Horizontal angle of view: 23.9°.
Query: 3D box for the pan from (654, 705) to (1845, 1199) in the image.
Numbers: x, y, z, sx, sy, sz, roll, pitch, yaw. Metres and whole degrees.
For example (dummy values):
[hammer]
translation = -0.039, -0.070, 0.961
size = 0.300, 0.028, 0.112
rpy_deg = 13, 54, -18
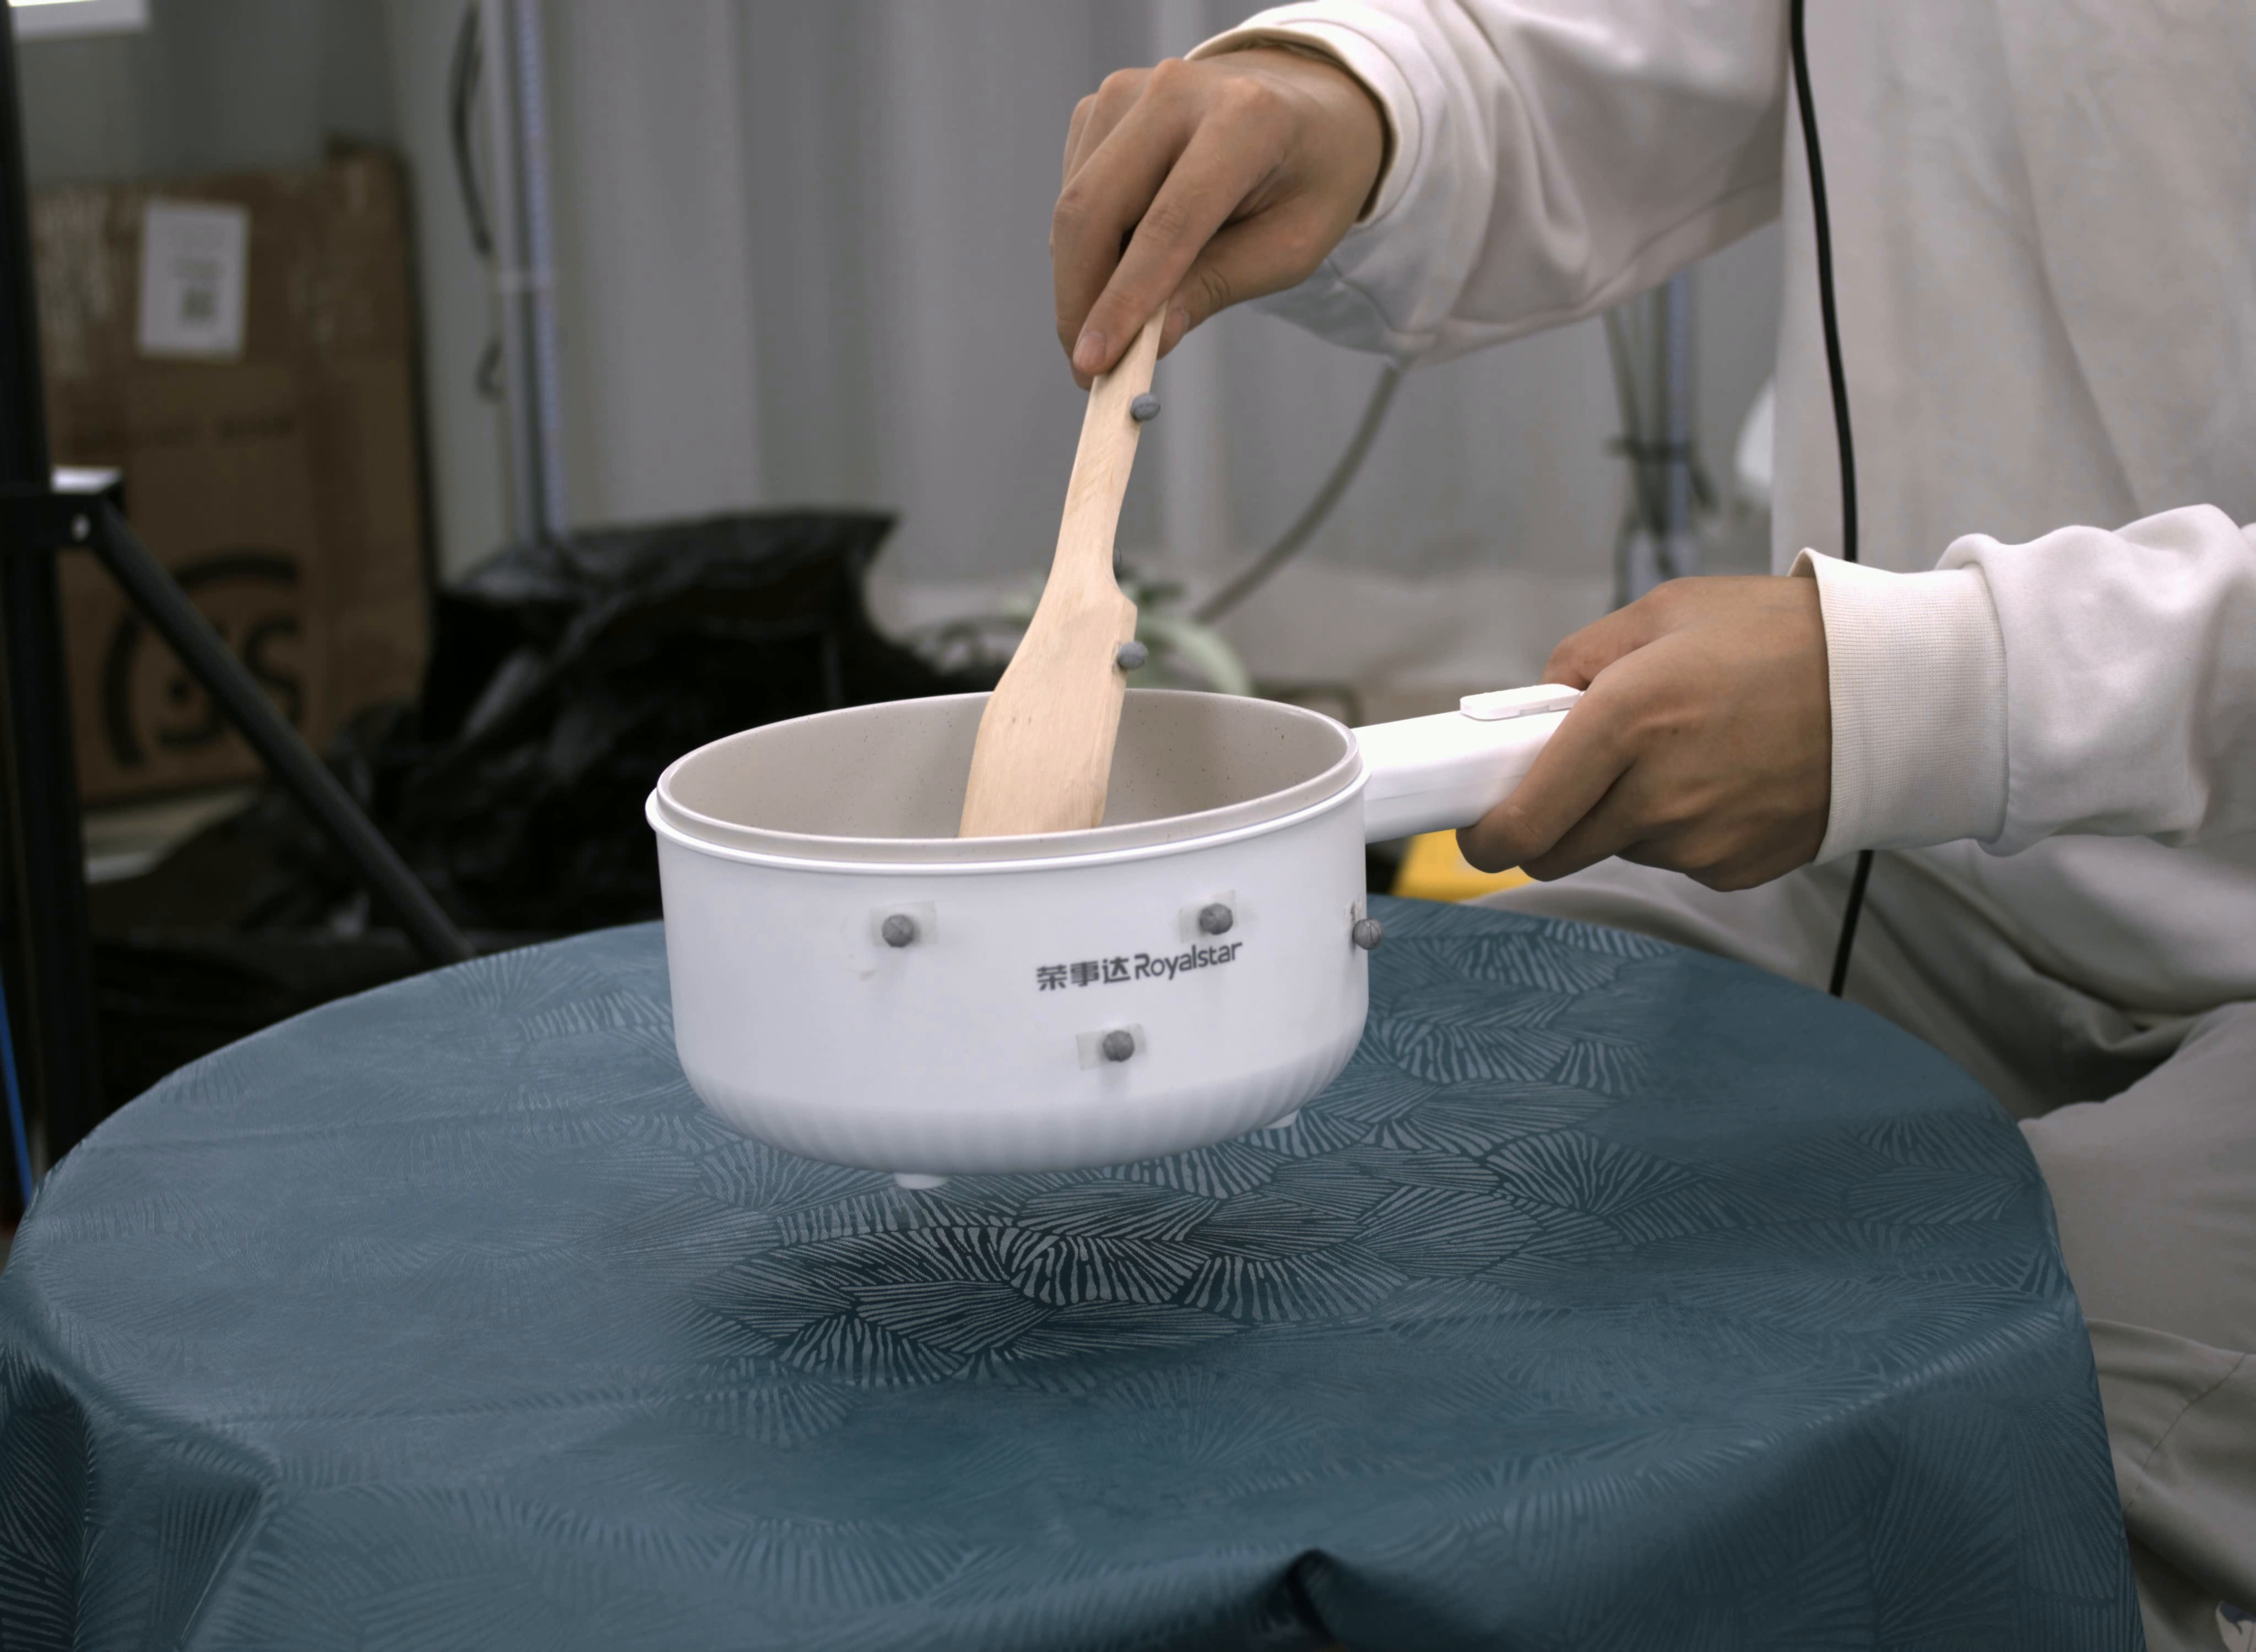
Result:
[pan]
translation = 0.041, 0.030, 1.506
size = 0.348, 0.102, 0.204
rpy_deg = -6, 9, -21
